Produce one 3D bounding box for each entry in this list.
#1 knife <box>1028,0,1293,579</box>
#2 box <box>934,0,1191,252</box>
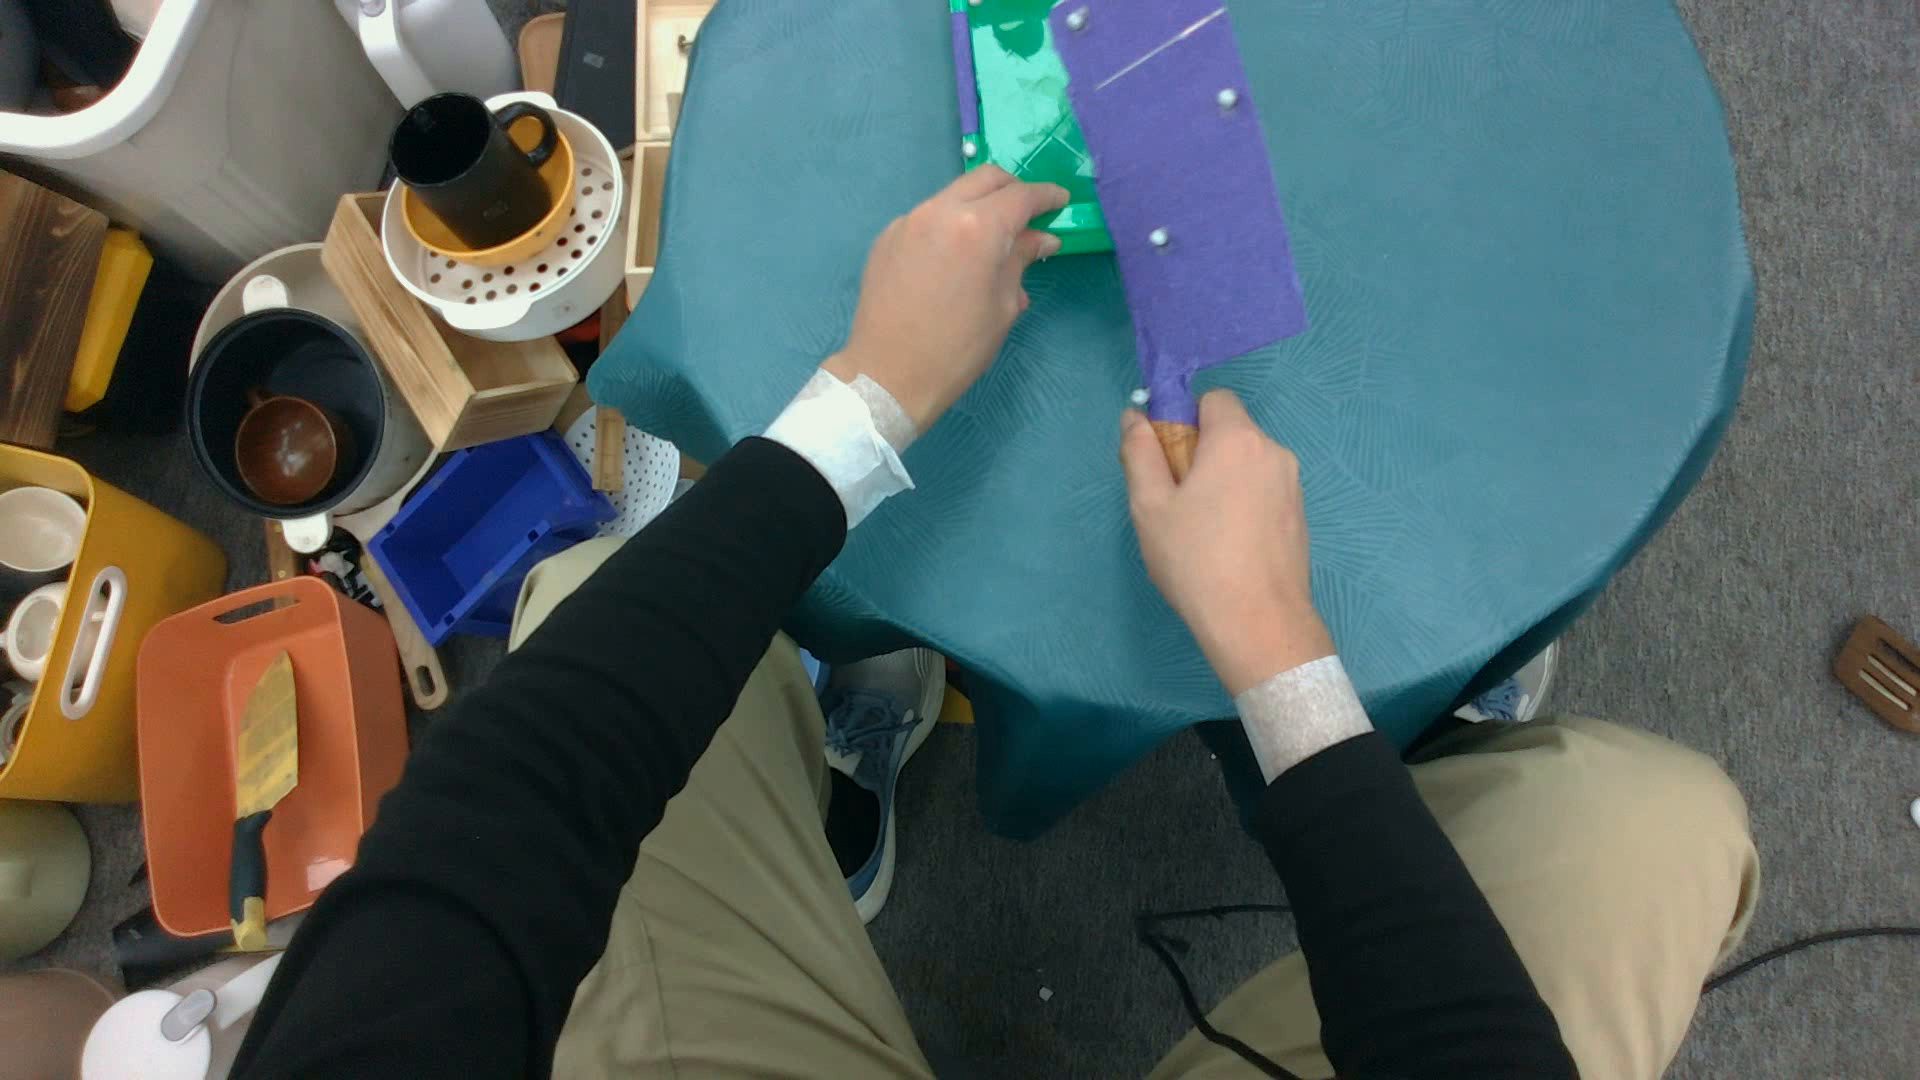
[{"bbox_3d":[0.106,-0.142,0.659,0.103,0.032,0.315,-18,83,38],"label":"knife"},{"bbox_3d":[0.058,-0.259,0.760,0.138,0.065,0.211,-6,78,1],"label":"box"}]
